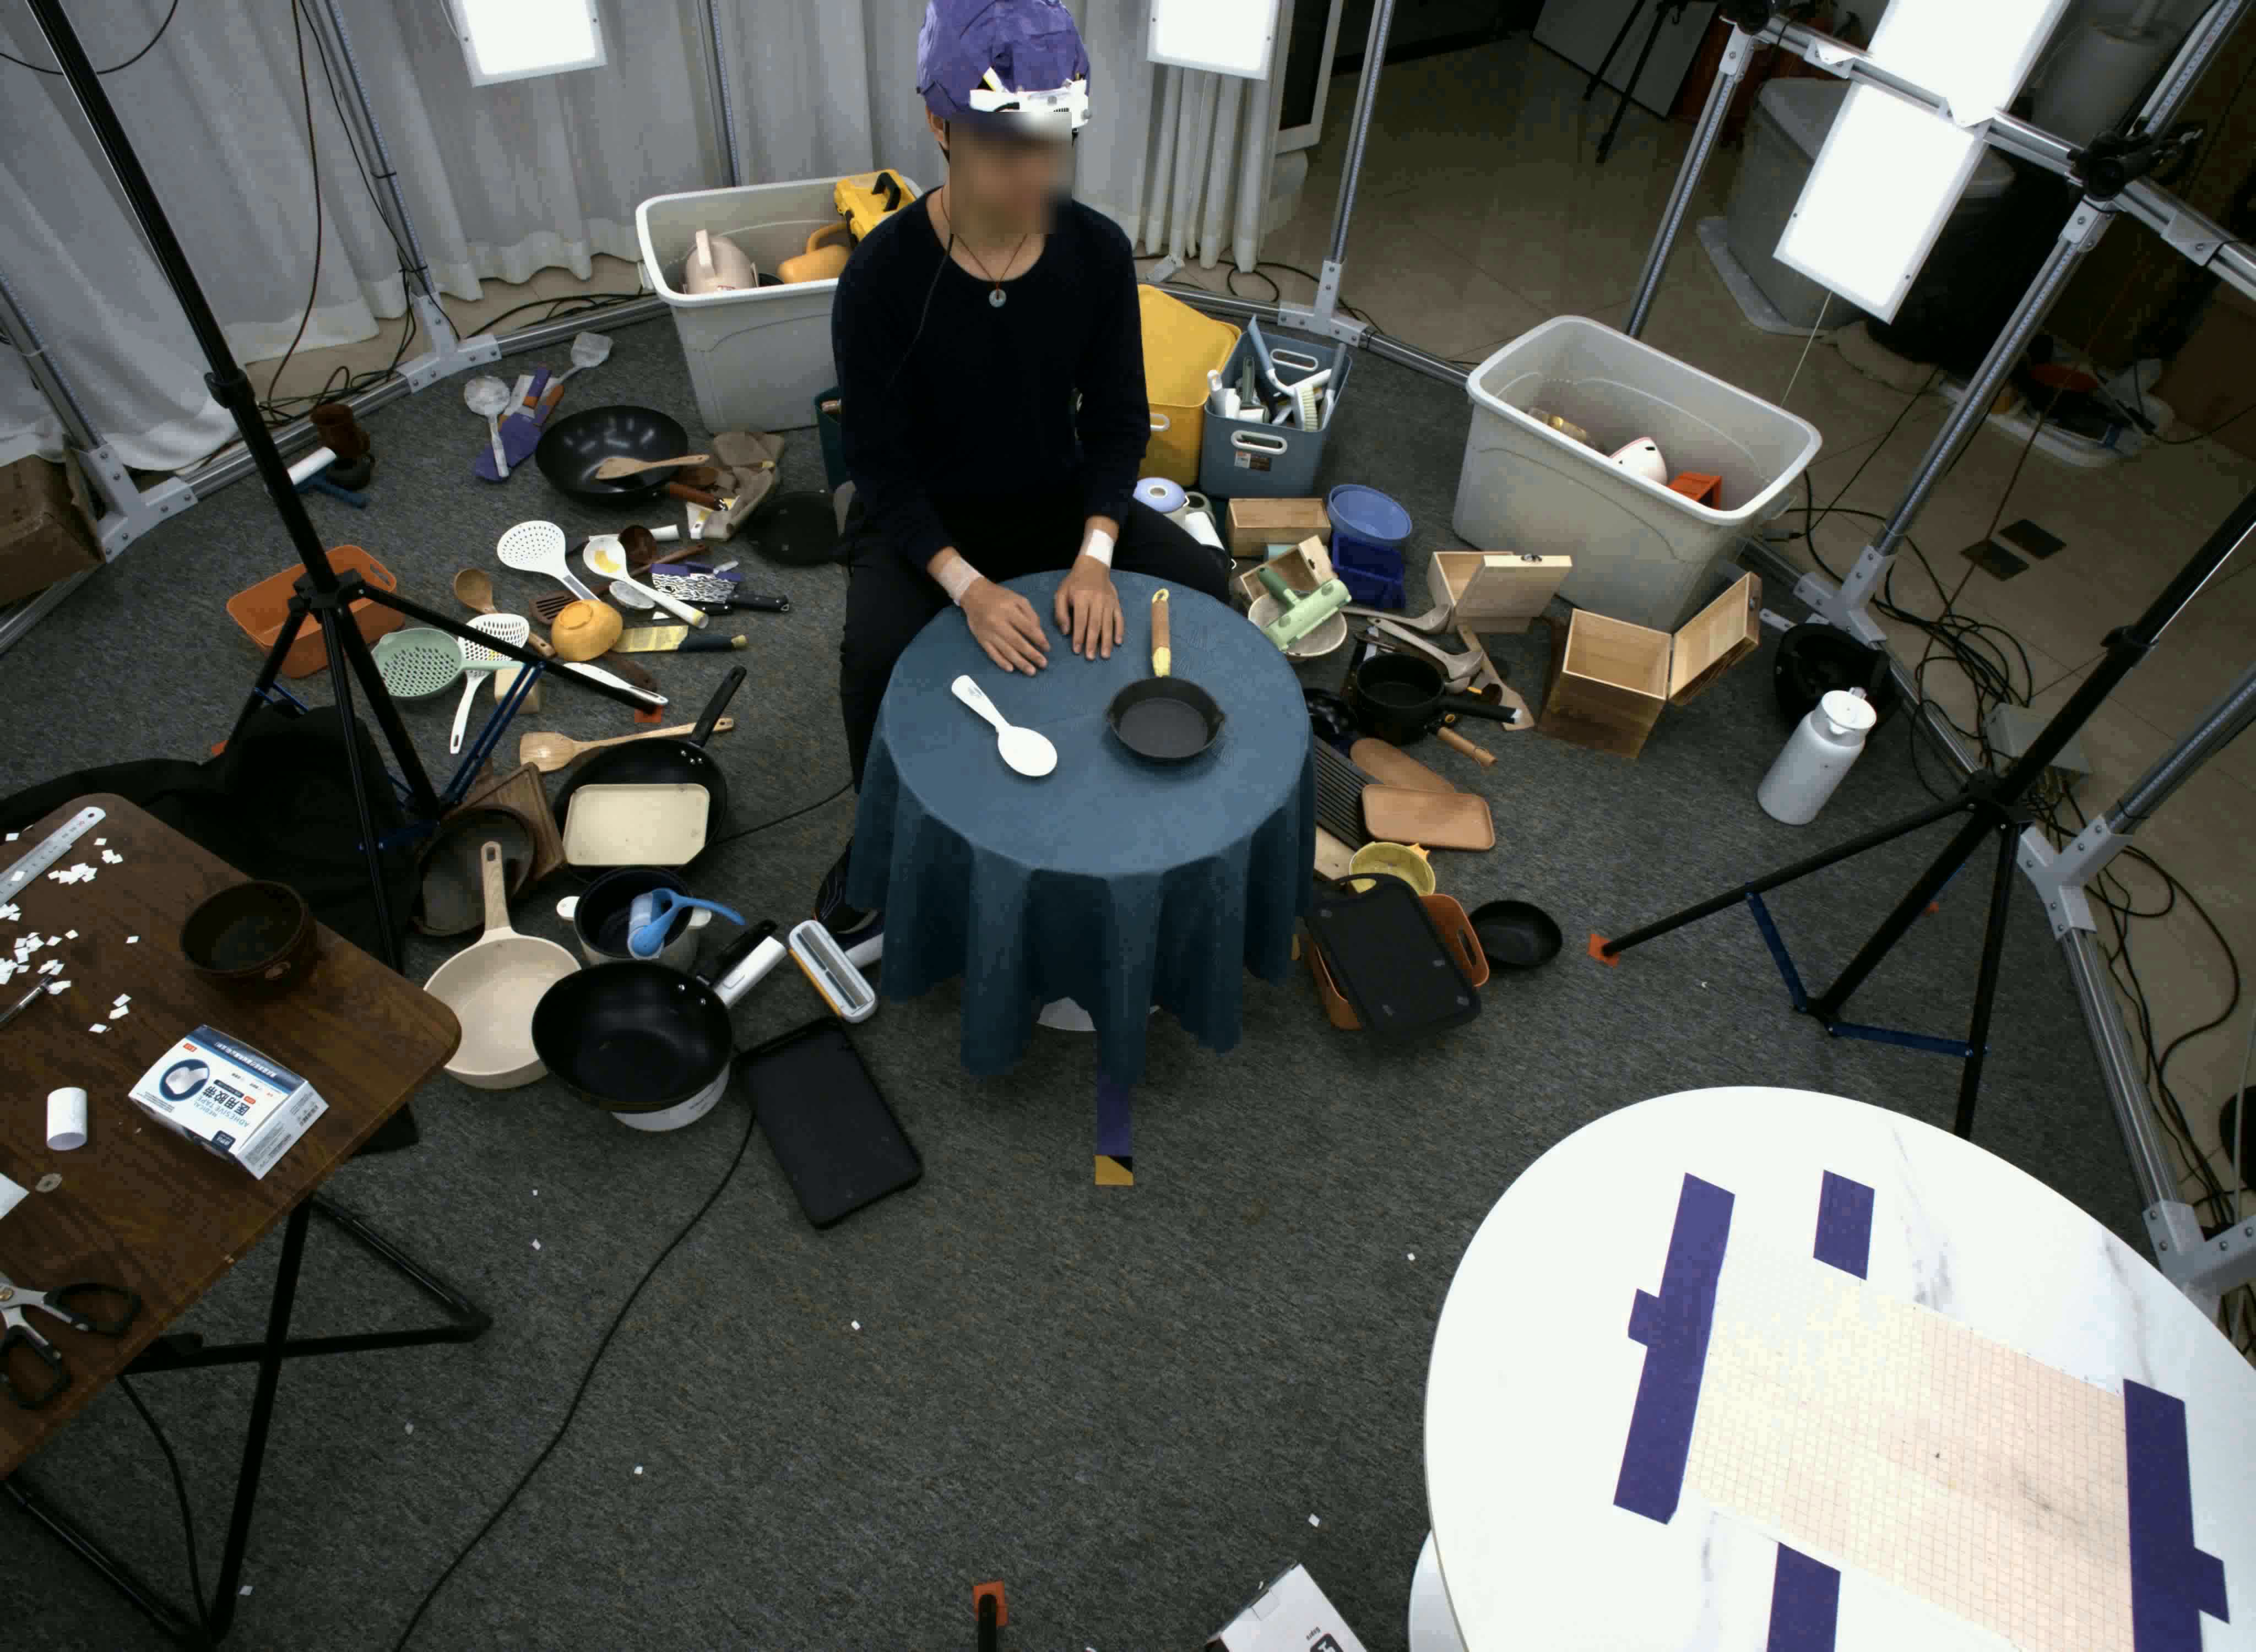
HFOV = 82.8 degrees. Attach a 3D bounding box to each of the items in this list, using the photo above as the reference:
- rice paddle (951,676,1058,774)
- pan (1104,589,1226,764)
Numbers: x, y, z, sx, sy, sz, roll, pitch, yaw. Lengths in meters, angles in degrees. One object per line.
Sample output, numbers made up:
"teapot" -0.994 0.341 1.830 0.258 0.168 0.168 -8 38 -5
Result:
"rice paddle" -0.171 -0.138 1.758 0.069 0.029 0.209 -31 57 -25
"pan" 0.051 -0.214 1.825 0.169 0.048 0.332 2 50 -2
